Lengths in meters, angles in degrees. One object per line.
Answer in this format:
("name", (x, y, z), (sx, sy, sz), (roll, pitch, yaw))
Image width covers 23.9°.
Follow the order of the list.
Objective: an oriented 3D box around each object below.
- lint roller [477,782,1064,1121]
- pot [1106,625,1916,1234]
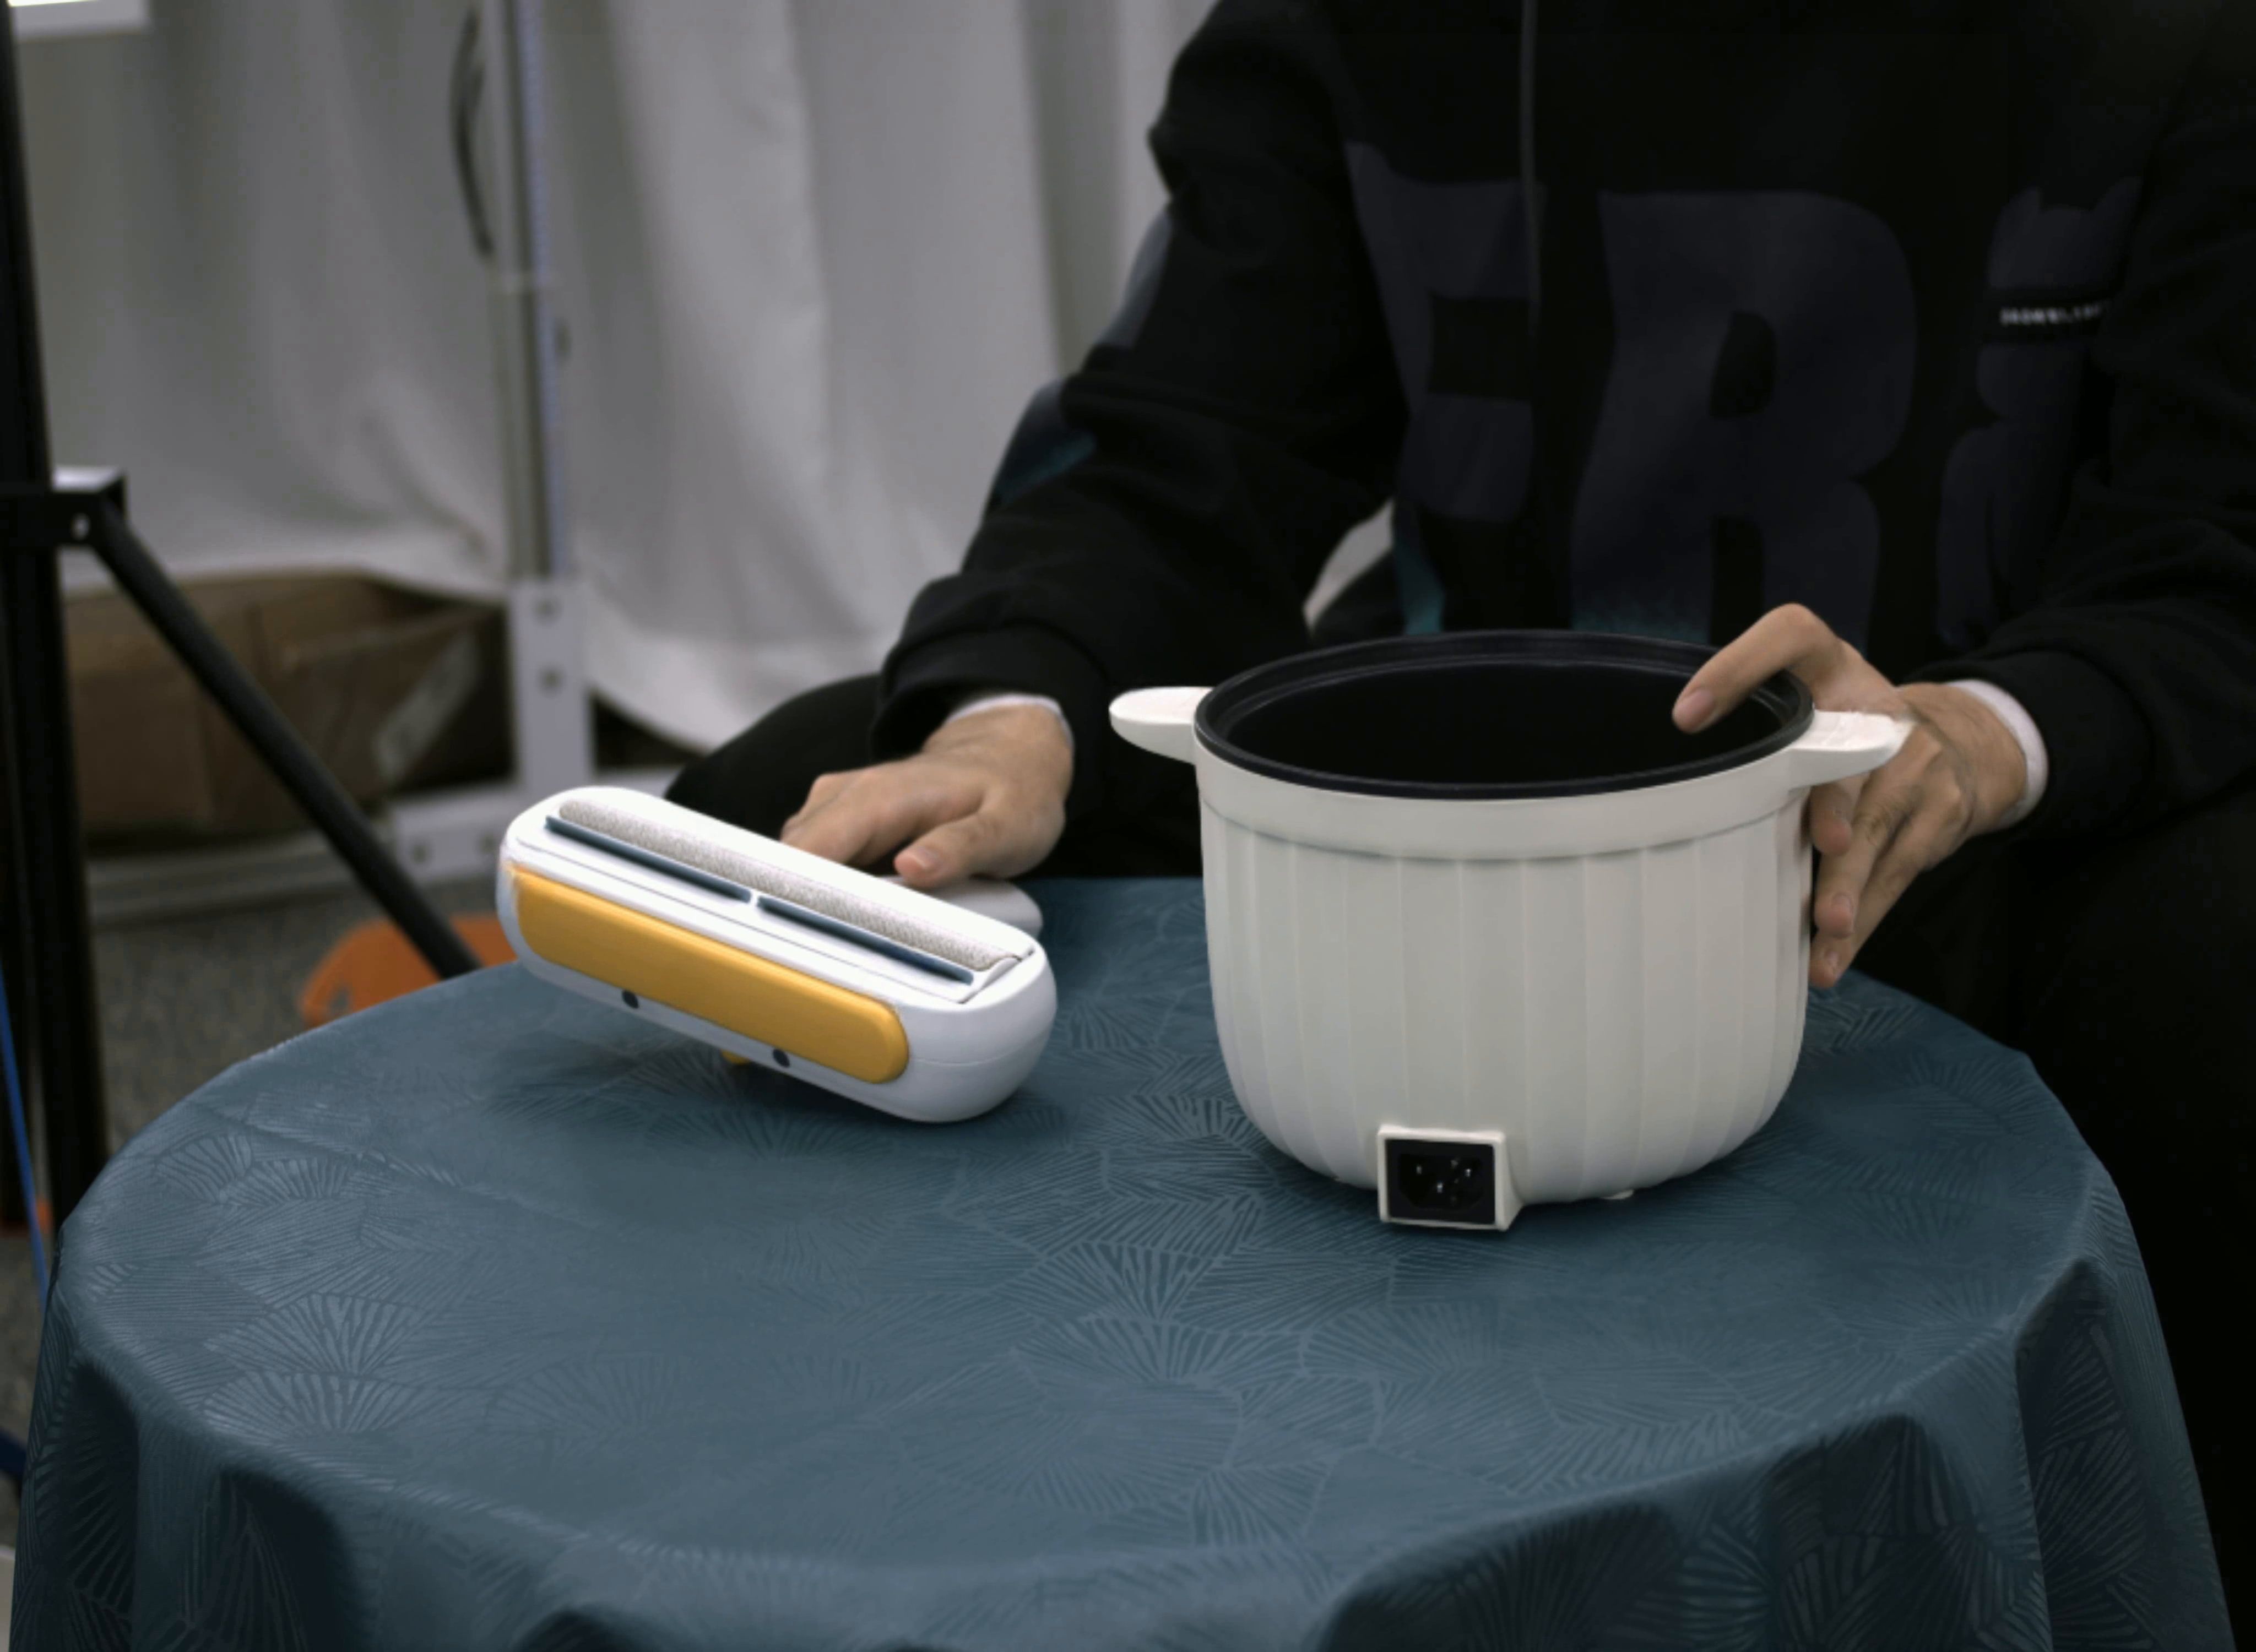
("lint roller", (-0.086, 0.031, 1.718), (0.197, 0.074, 0.188), (16, 22, 32))
("pot", (0.112, 0.027, 1.569), (0.243, 0.142, 0.189), (4, 19, 18))
